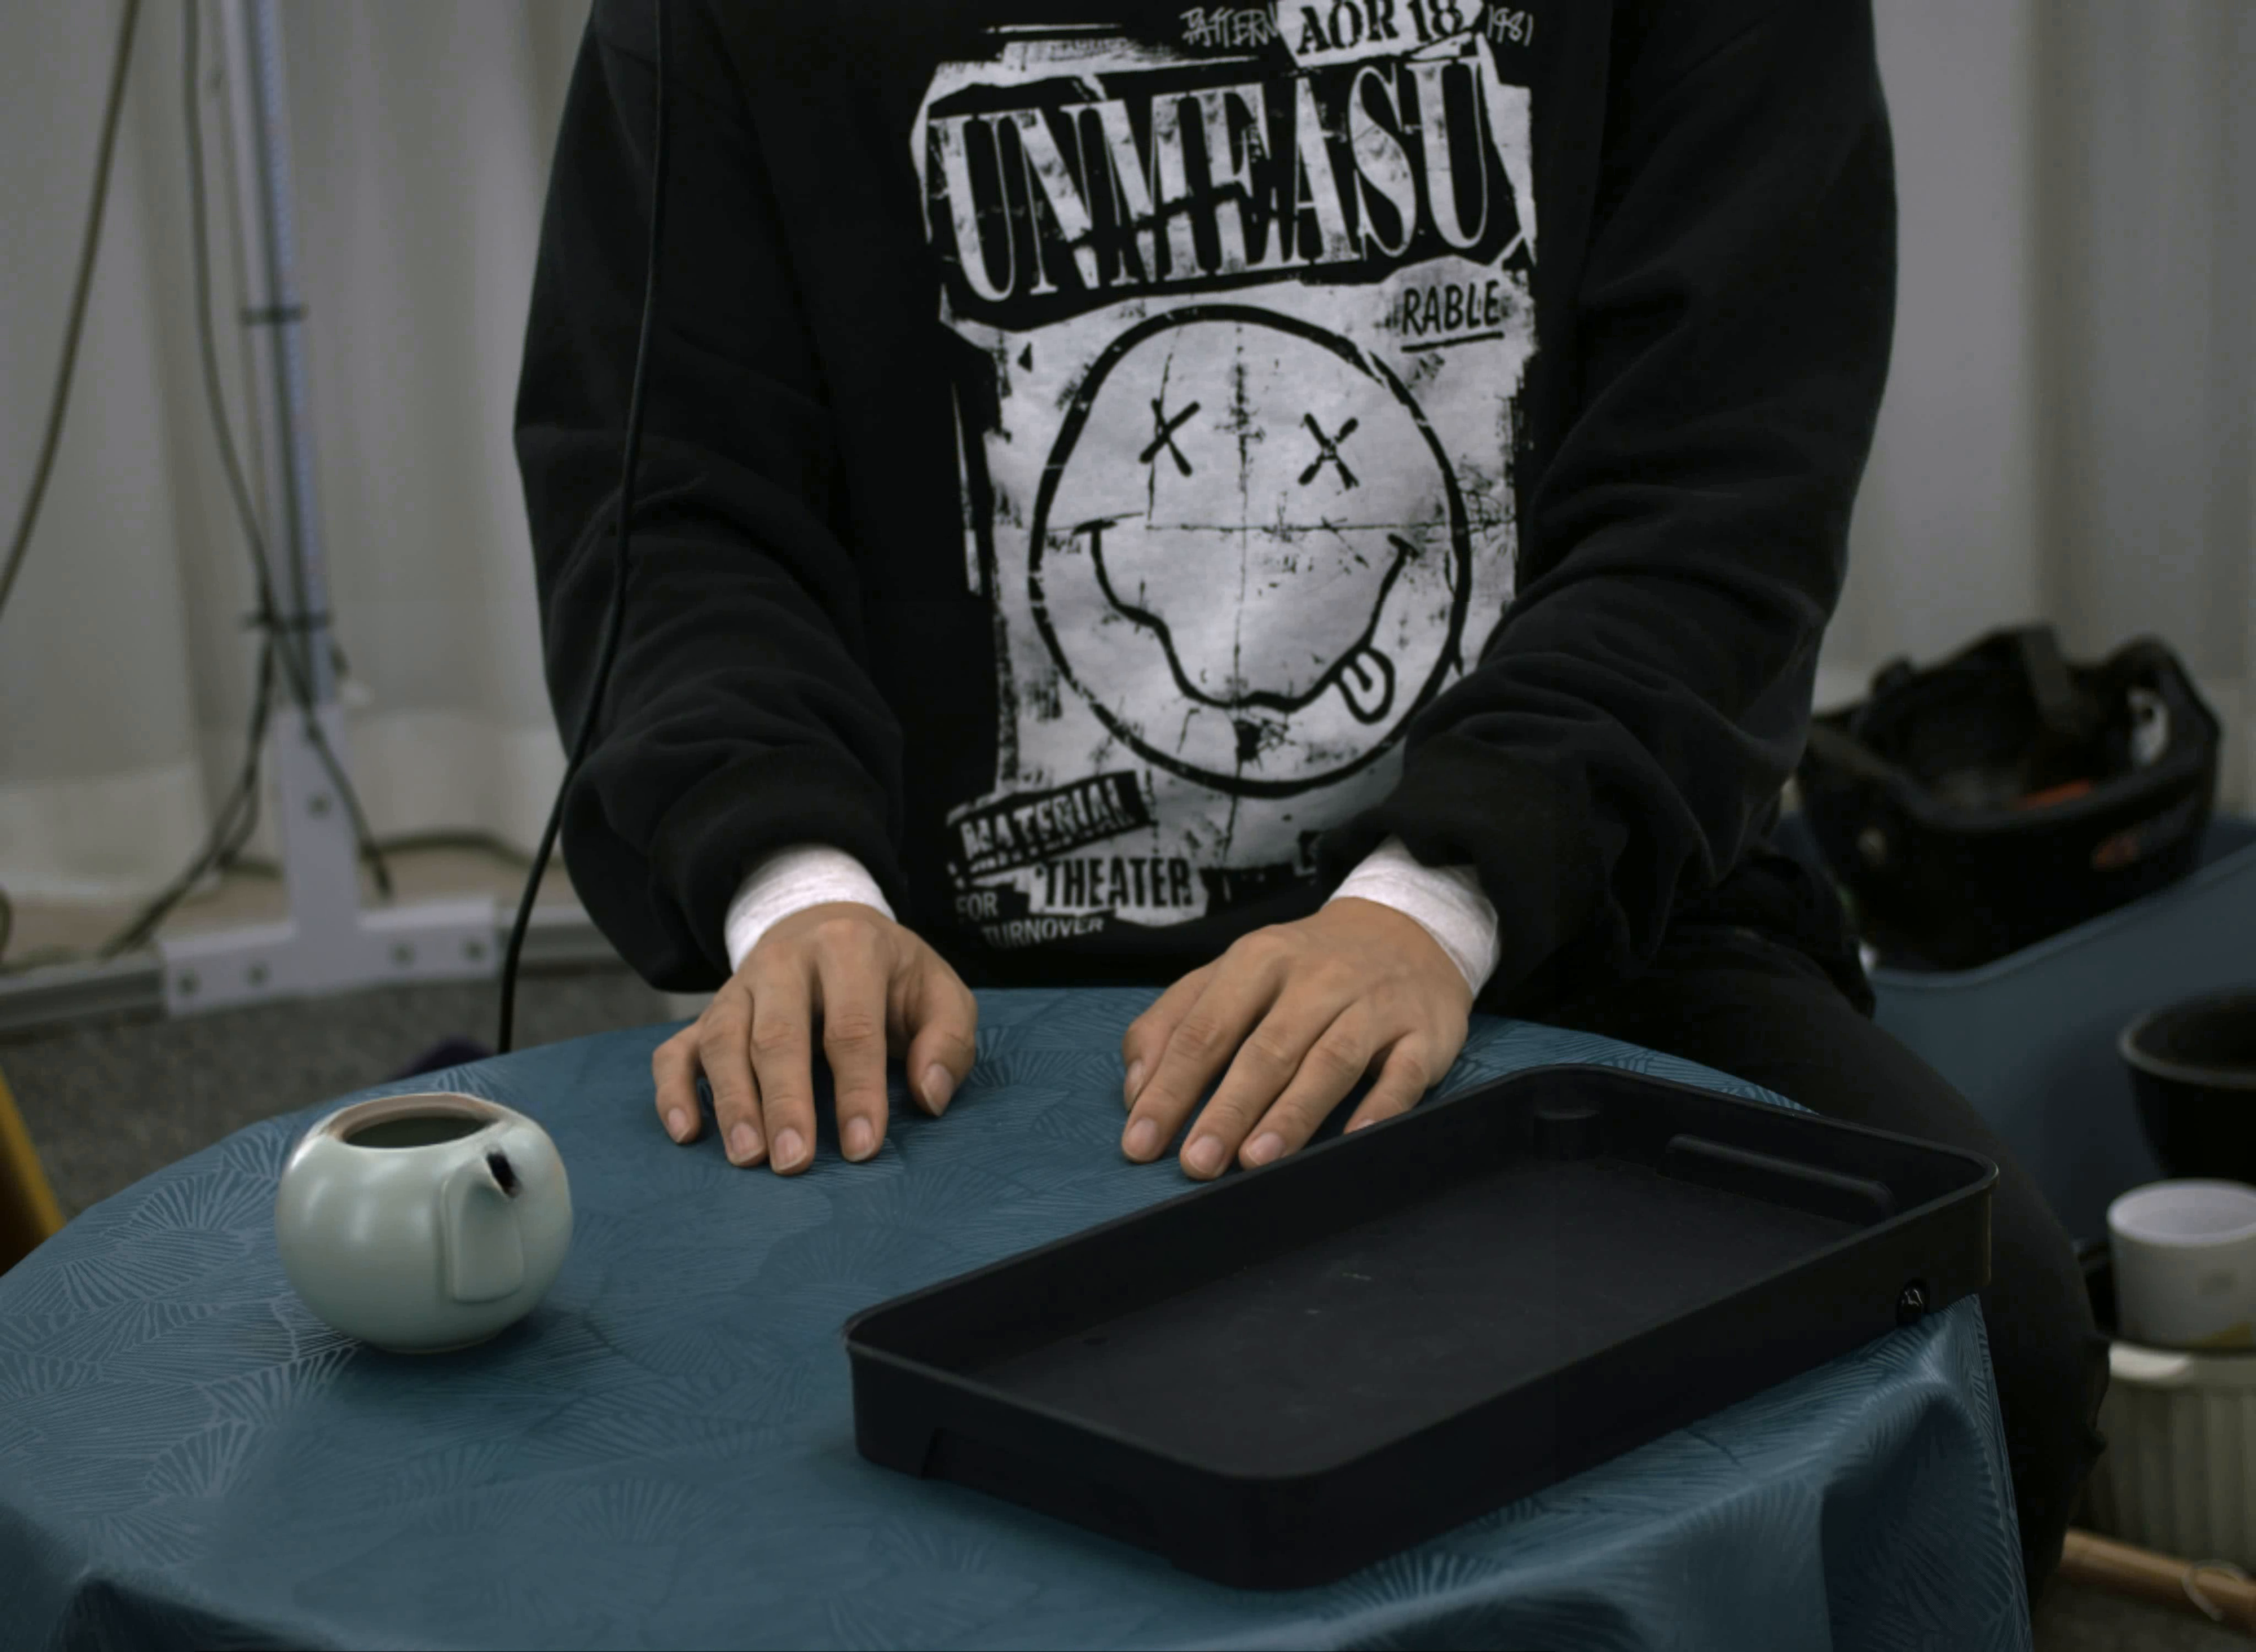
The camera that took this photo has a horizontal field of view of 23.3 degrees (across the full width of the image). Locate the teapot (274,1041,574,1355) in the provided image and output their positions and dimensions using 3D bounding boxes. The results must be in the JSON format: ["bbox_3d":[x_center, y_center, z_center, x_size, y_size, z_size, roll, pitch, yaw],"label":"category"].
[{"bbox_3d":[-0.207,0.115,1.614,0.088,0.074,0.145,-10,18,-26],"label":"teapot"}]

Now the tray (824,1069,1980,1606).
[{"bbox_3d":[0.083,0.137,1.546,0.185,0.037,0.317,12,20,43],"label":"tray"}]
